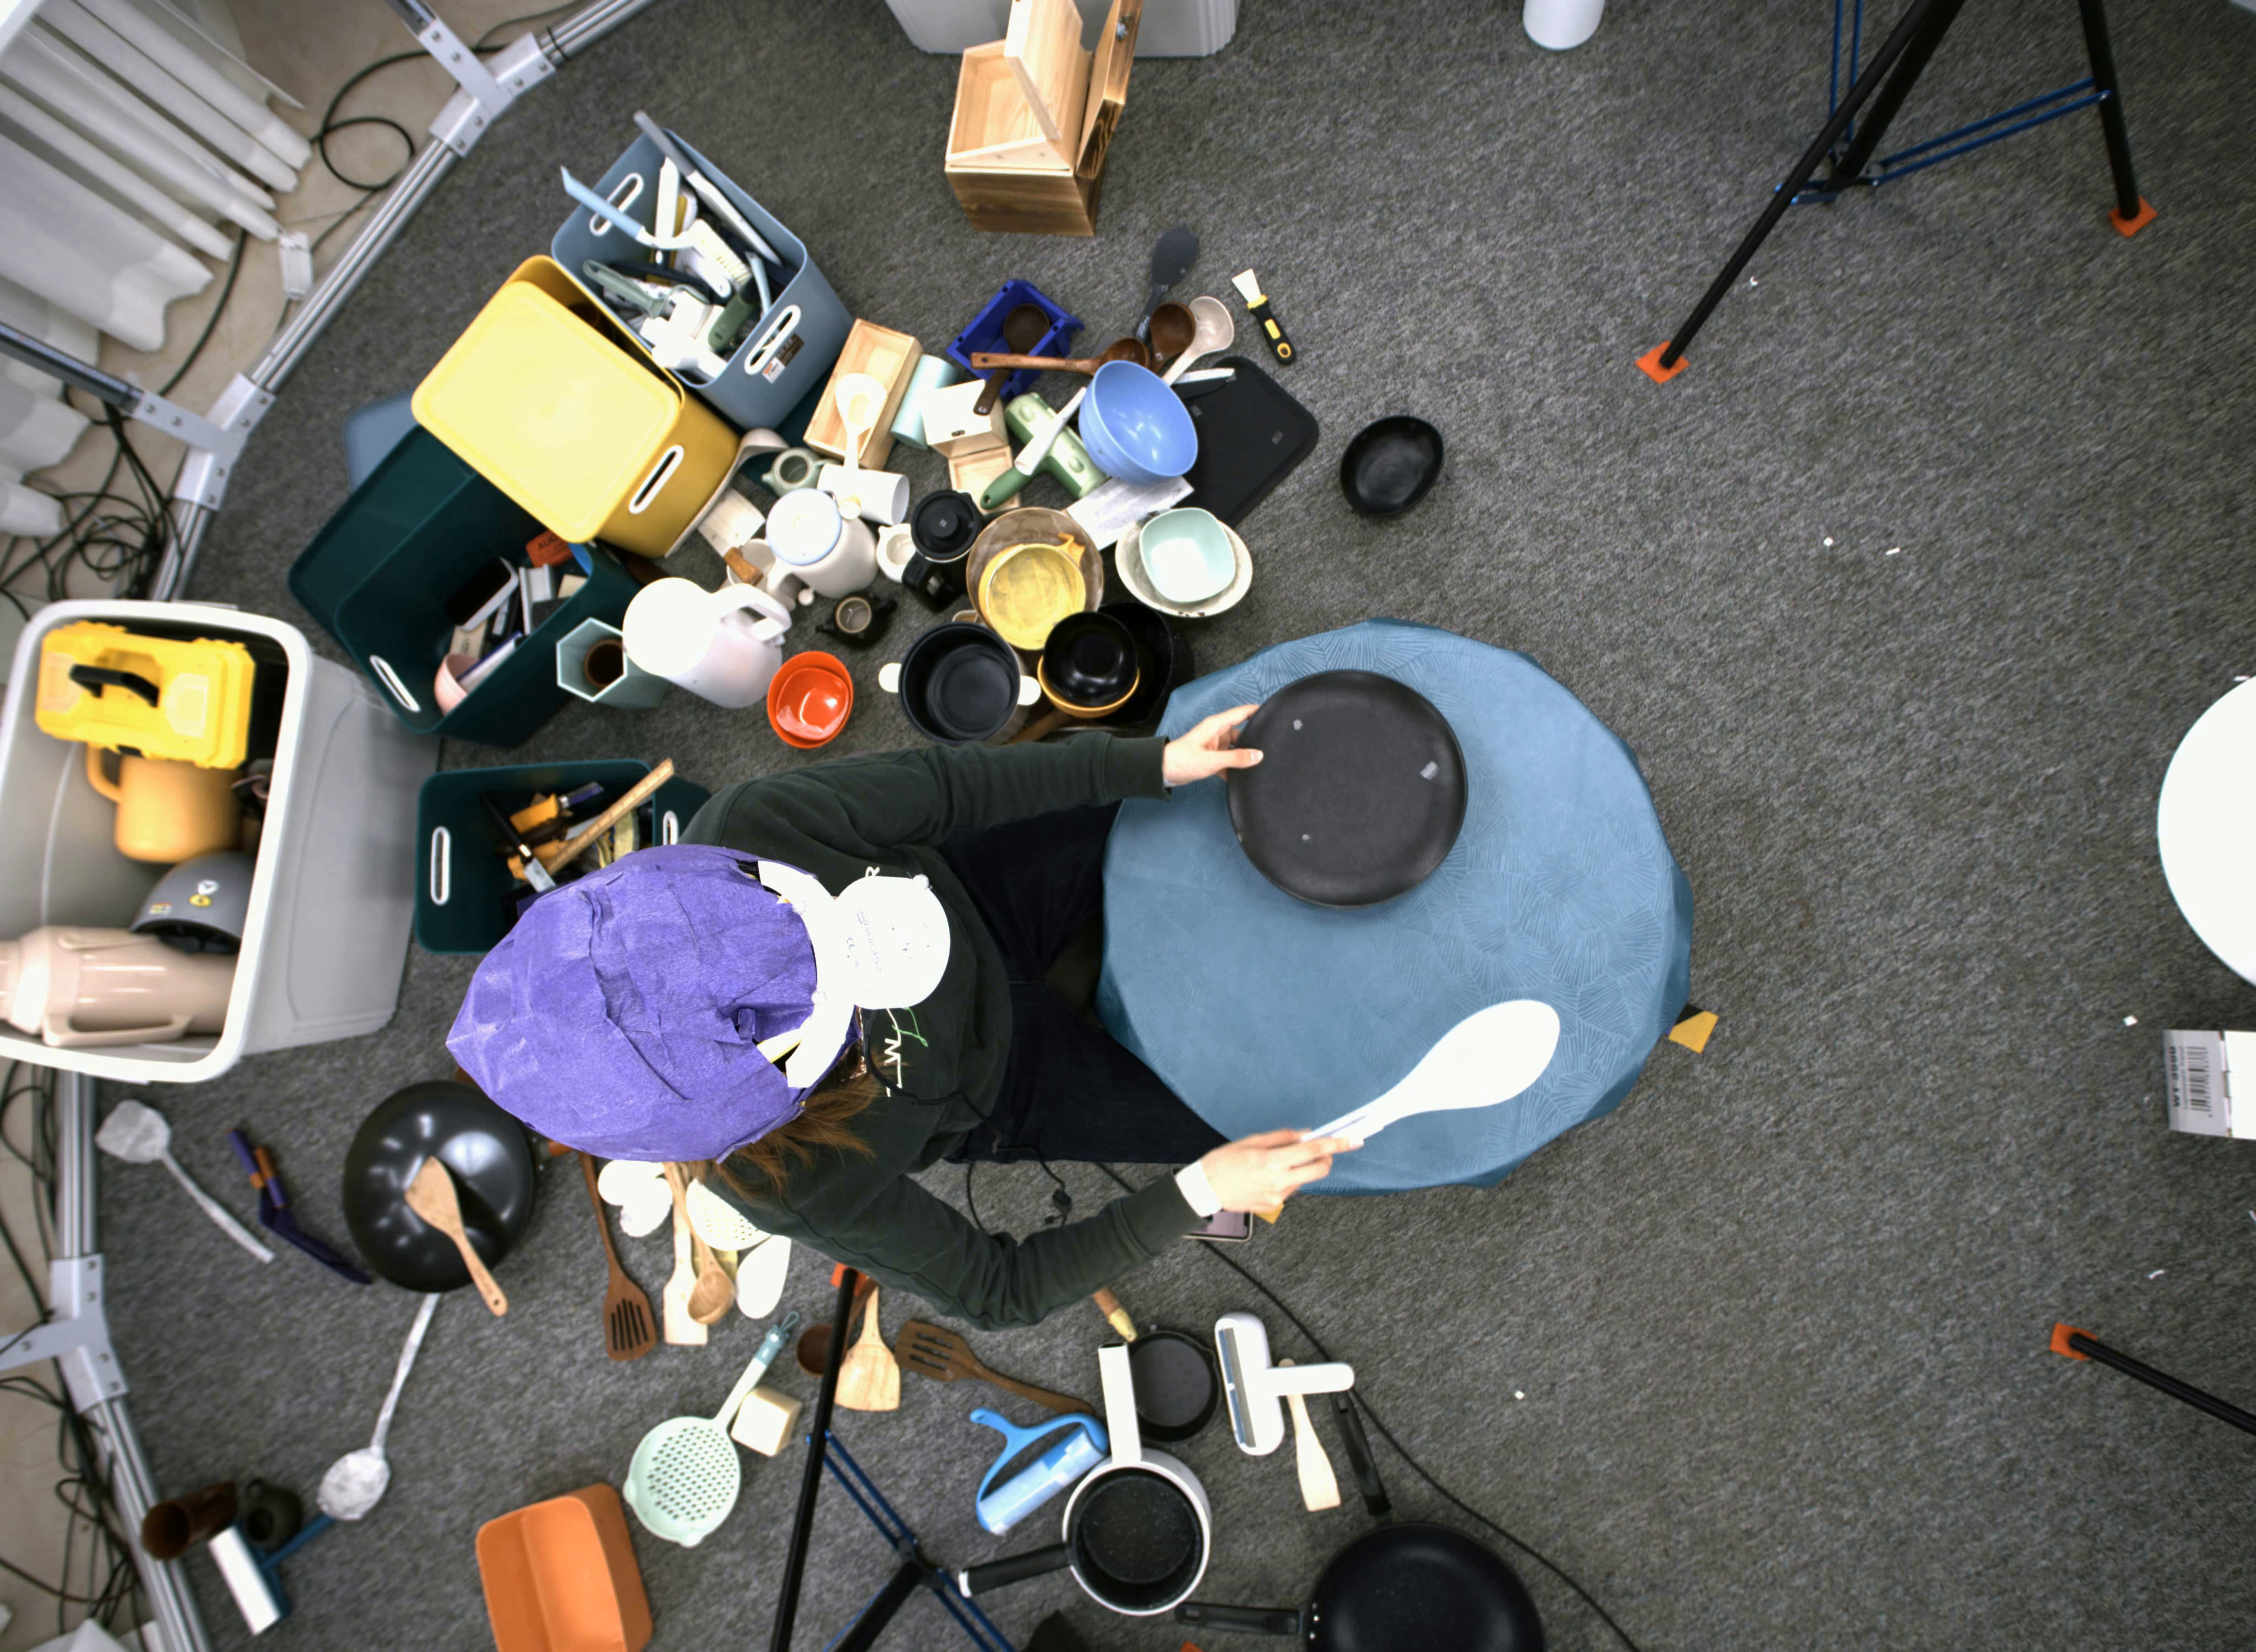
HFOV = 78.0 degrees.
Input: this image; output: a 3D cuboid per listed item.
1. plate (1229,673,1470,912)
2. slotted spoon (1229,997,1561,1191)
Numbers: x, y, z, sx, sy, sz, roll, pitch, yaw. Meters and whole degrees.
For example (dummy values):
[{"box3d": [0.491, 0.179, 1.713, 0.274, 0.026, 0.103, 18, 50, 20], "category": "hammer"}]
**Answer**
[{"box3d": [0.225, -0.035, 1.407, 0.245, 0.023, 0.245, 1, 96, 6], "category": "plate"}, {"box3d": [0.248, 0.259, 1.299, 0.353, 0.133, 0.046, -26, 109, 15], "category": "slotted spoon"}]
